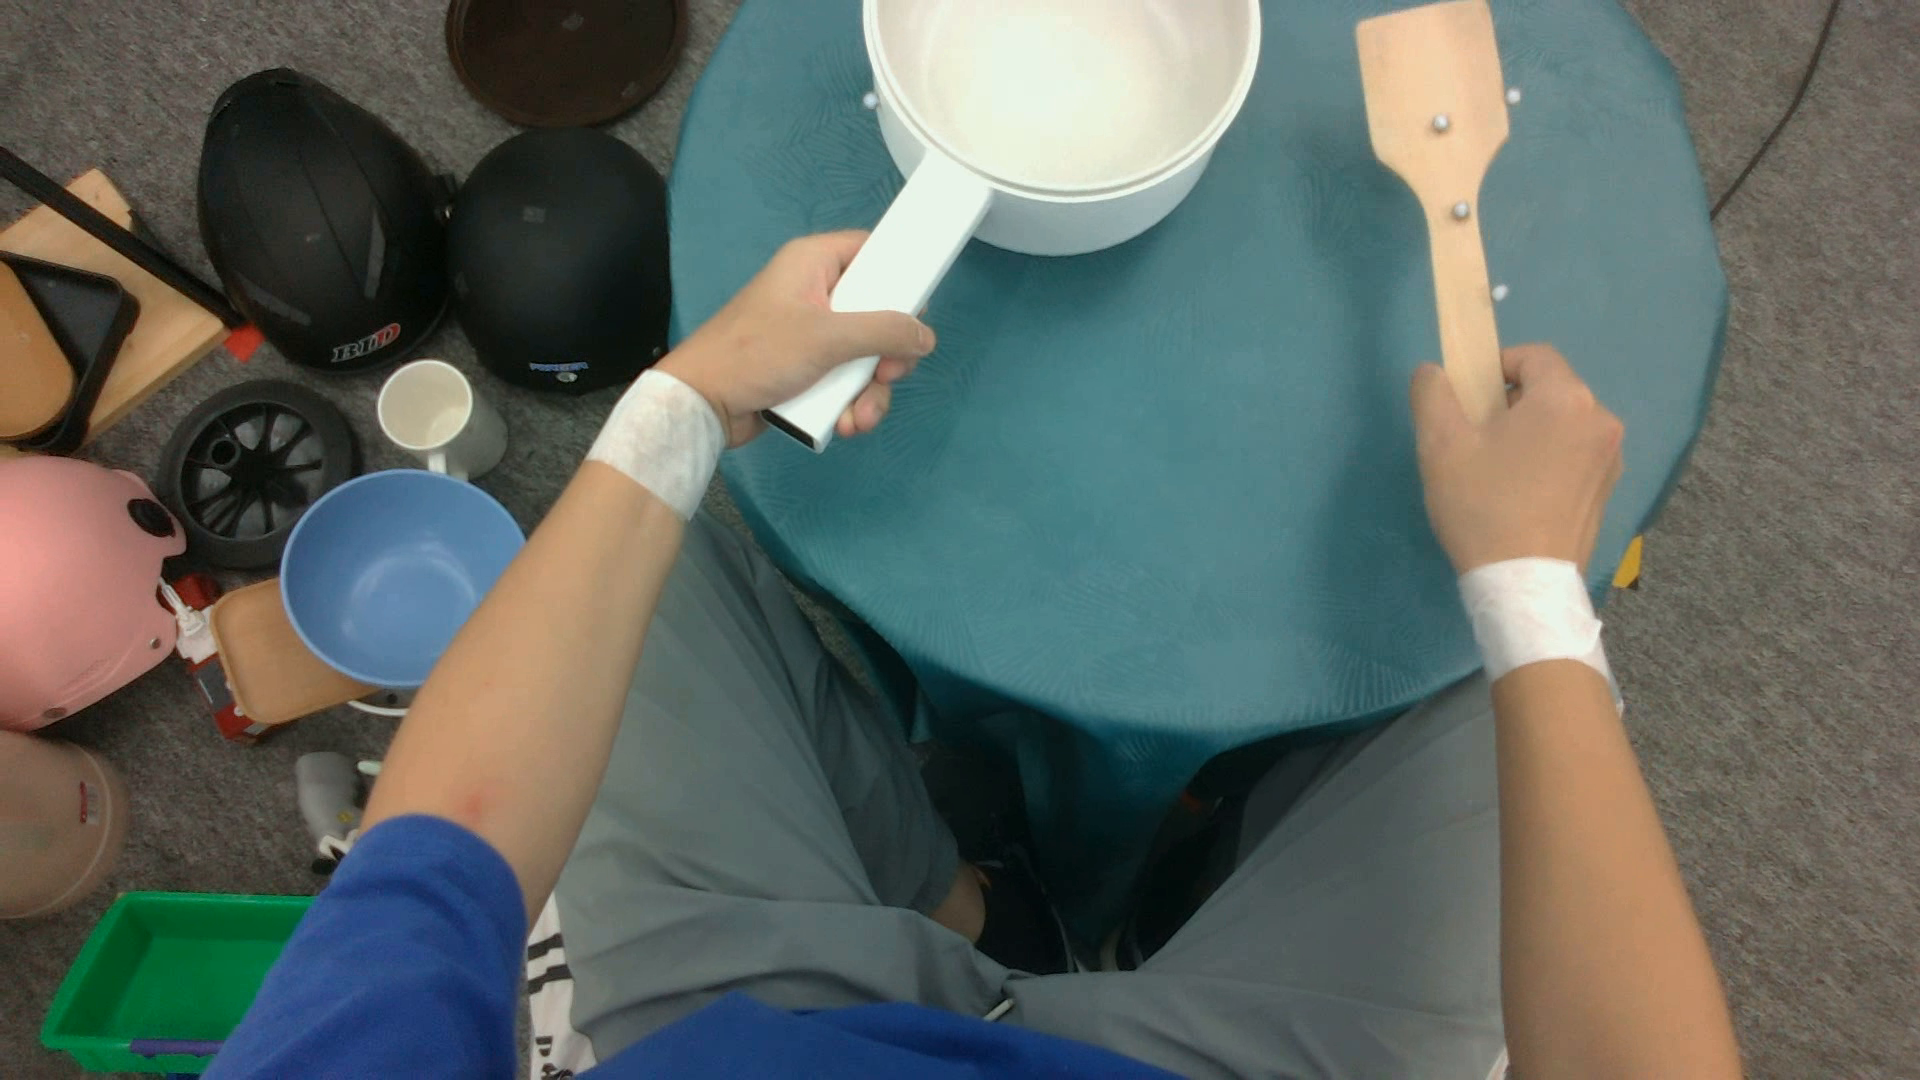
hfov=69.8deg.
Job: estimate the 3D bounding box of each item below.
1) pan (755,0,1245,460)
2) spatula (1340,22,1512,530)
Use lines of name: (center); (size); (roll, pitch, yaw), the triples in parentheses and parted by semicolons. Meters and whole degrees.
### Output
pan: (0.008, -0.188, 0.744); (0.201, 0.102, 0.355); (31, 77, 4)
spatula: (0.254, -0.144, 0.723); (0.072, 0.010, 0.294); (-7, 71, 15)
